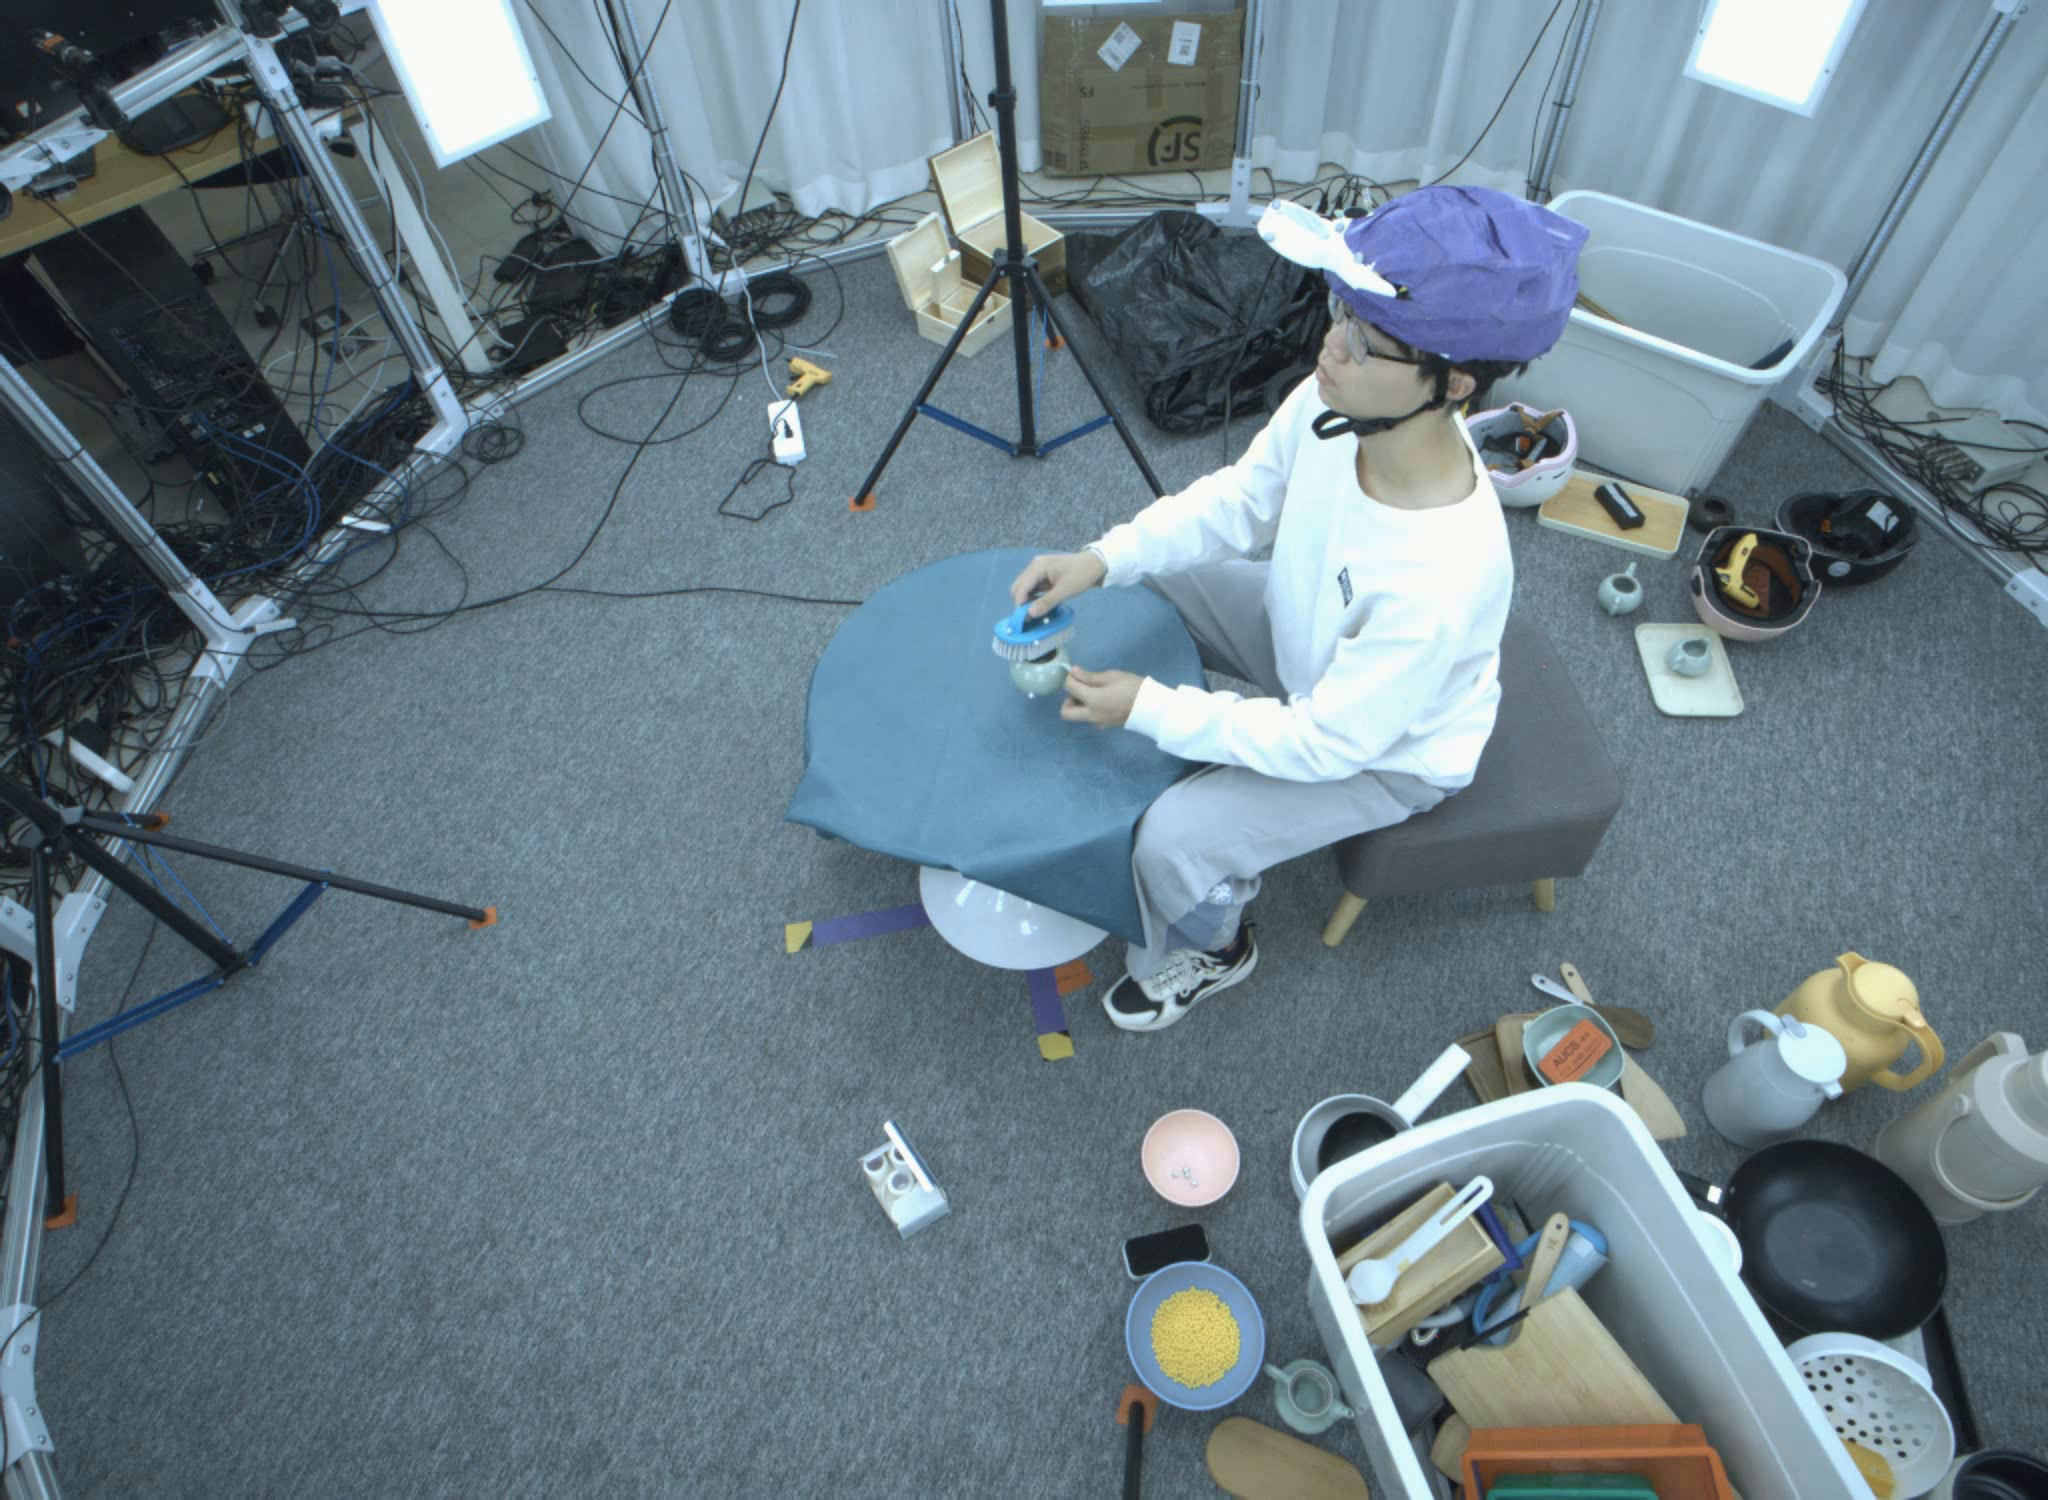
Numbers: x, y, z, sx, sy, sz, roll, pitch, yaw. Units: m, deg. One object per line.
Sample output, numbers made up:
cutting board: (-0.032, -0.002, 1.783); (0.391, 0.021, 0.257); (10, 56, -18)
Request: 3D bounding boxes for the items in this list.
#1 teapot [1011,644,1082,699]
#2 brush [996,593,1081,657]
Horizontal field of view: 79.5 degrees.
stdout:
teapot: (0.033, -0.113, 1.769); (0.126, 0.061, 0.092); (33, 46, 28)
brush: (0.018, -0.185, 1.745); (0.082, 0.064, 0.144); (25, 38, 35)
